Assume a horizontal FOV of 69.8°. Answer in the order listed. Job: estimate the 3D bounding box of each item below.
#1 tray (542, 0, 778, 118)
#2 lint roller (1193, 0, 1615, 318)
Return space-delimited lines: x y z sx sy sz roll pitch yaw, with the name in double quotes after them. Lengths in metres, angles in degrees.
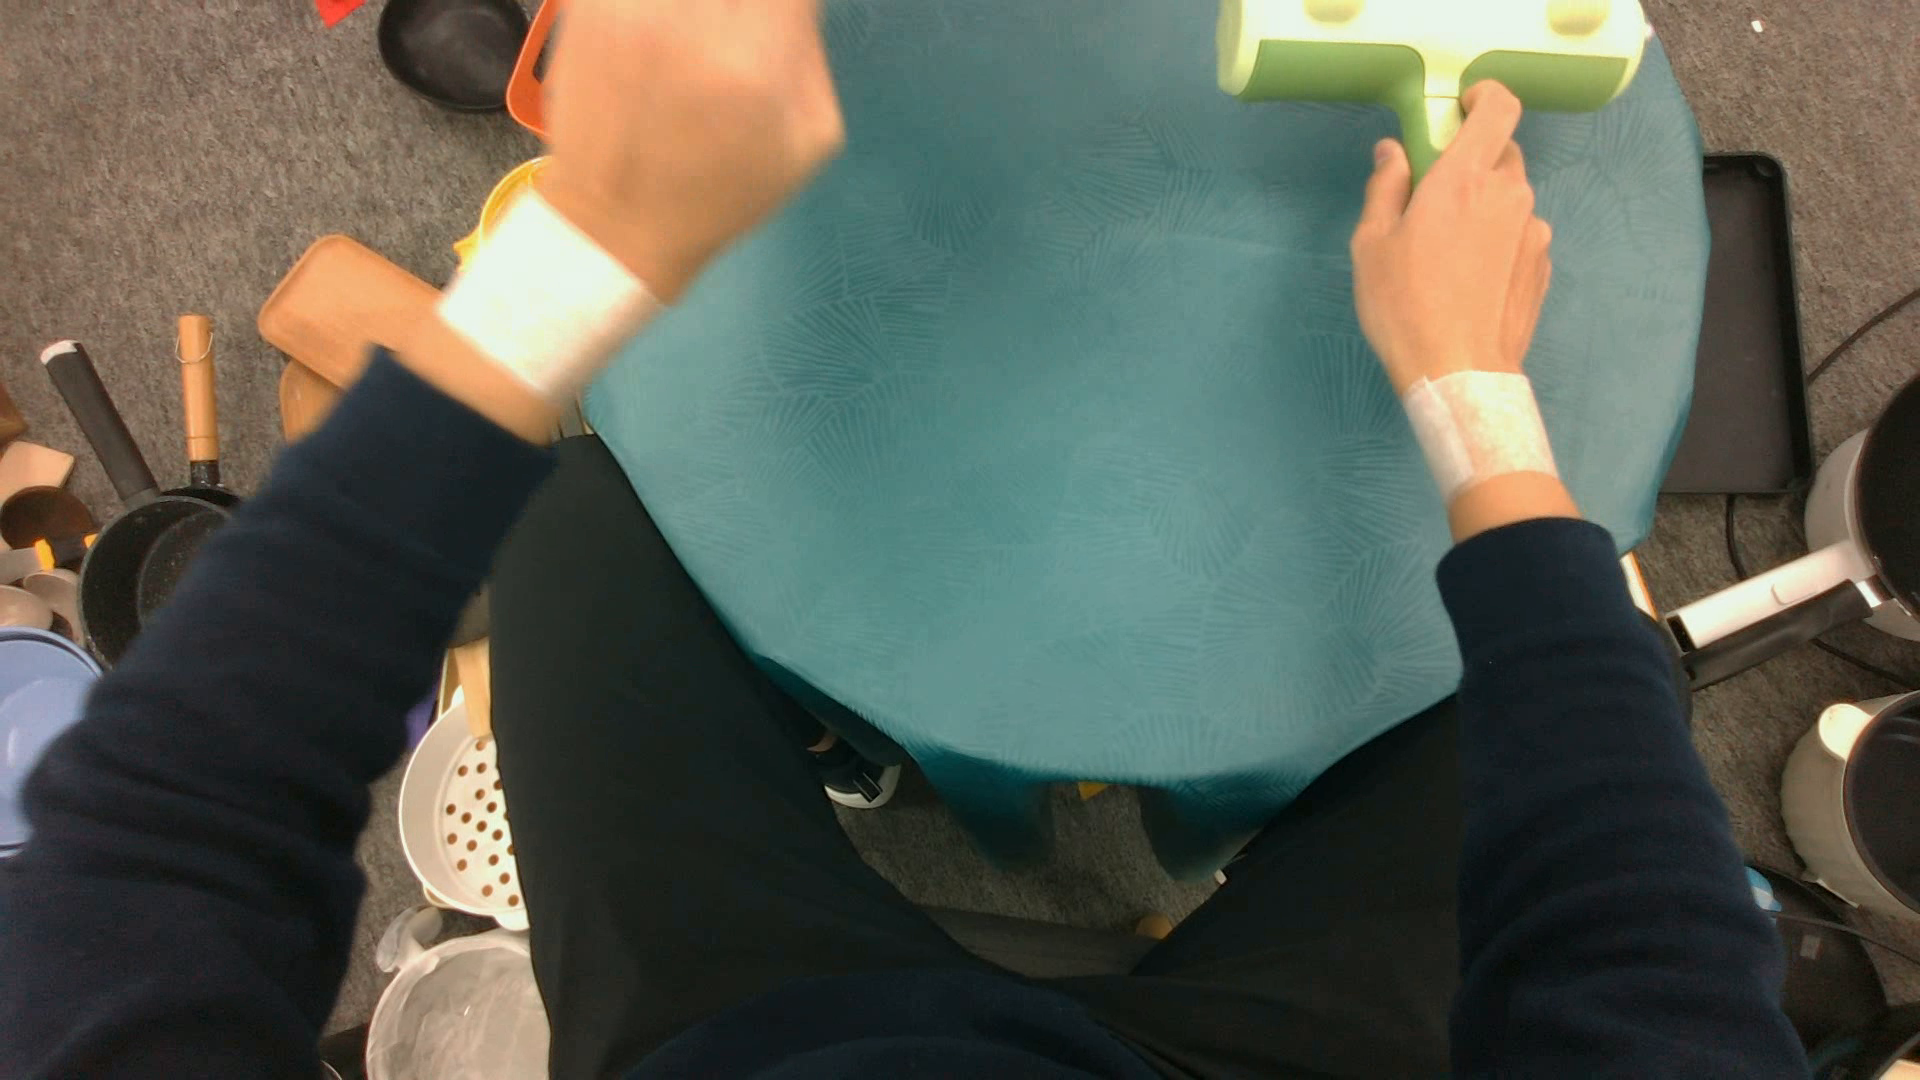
-0.066 -0.269 0.575 0.210 0.327 0.010 -24 123 19 "tray"
0.216 -0.199 0.636 0.199 0.082 0.184 -1 68 -7 "lint roller"
